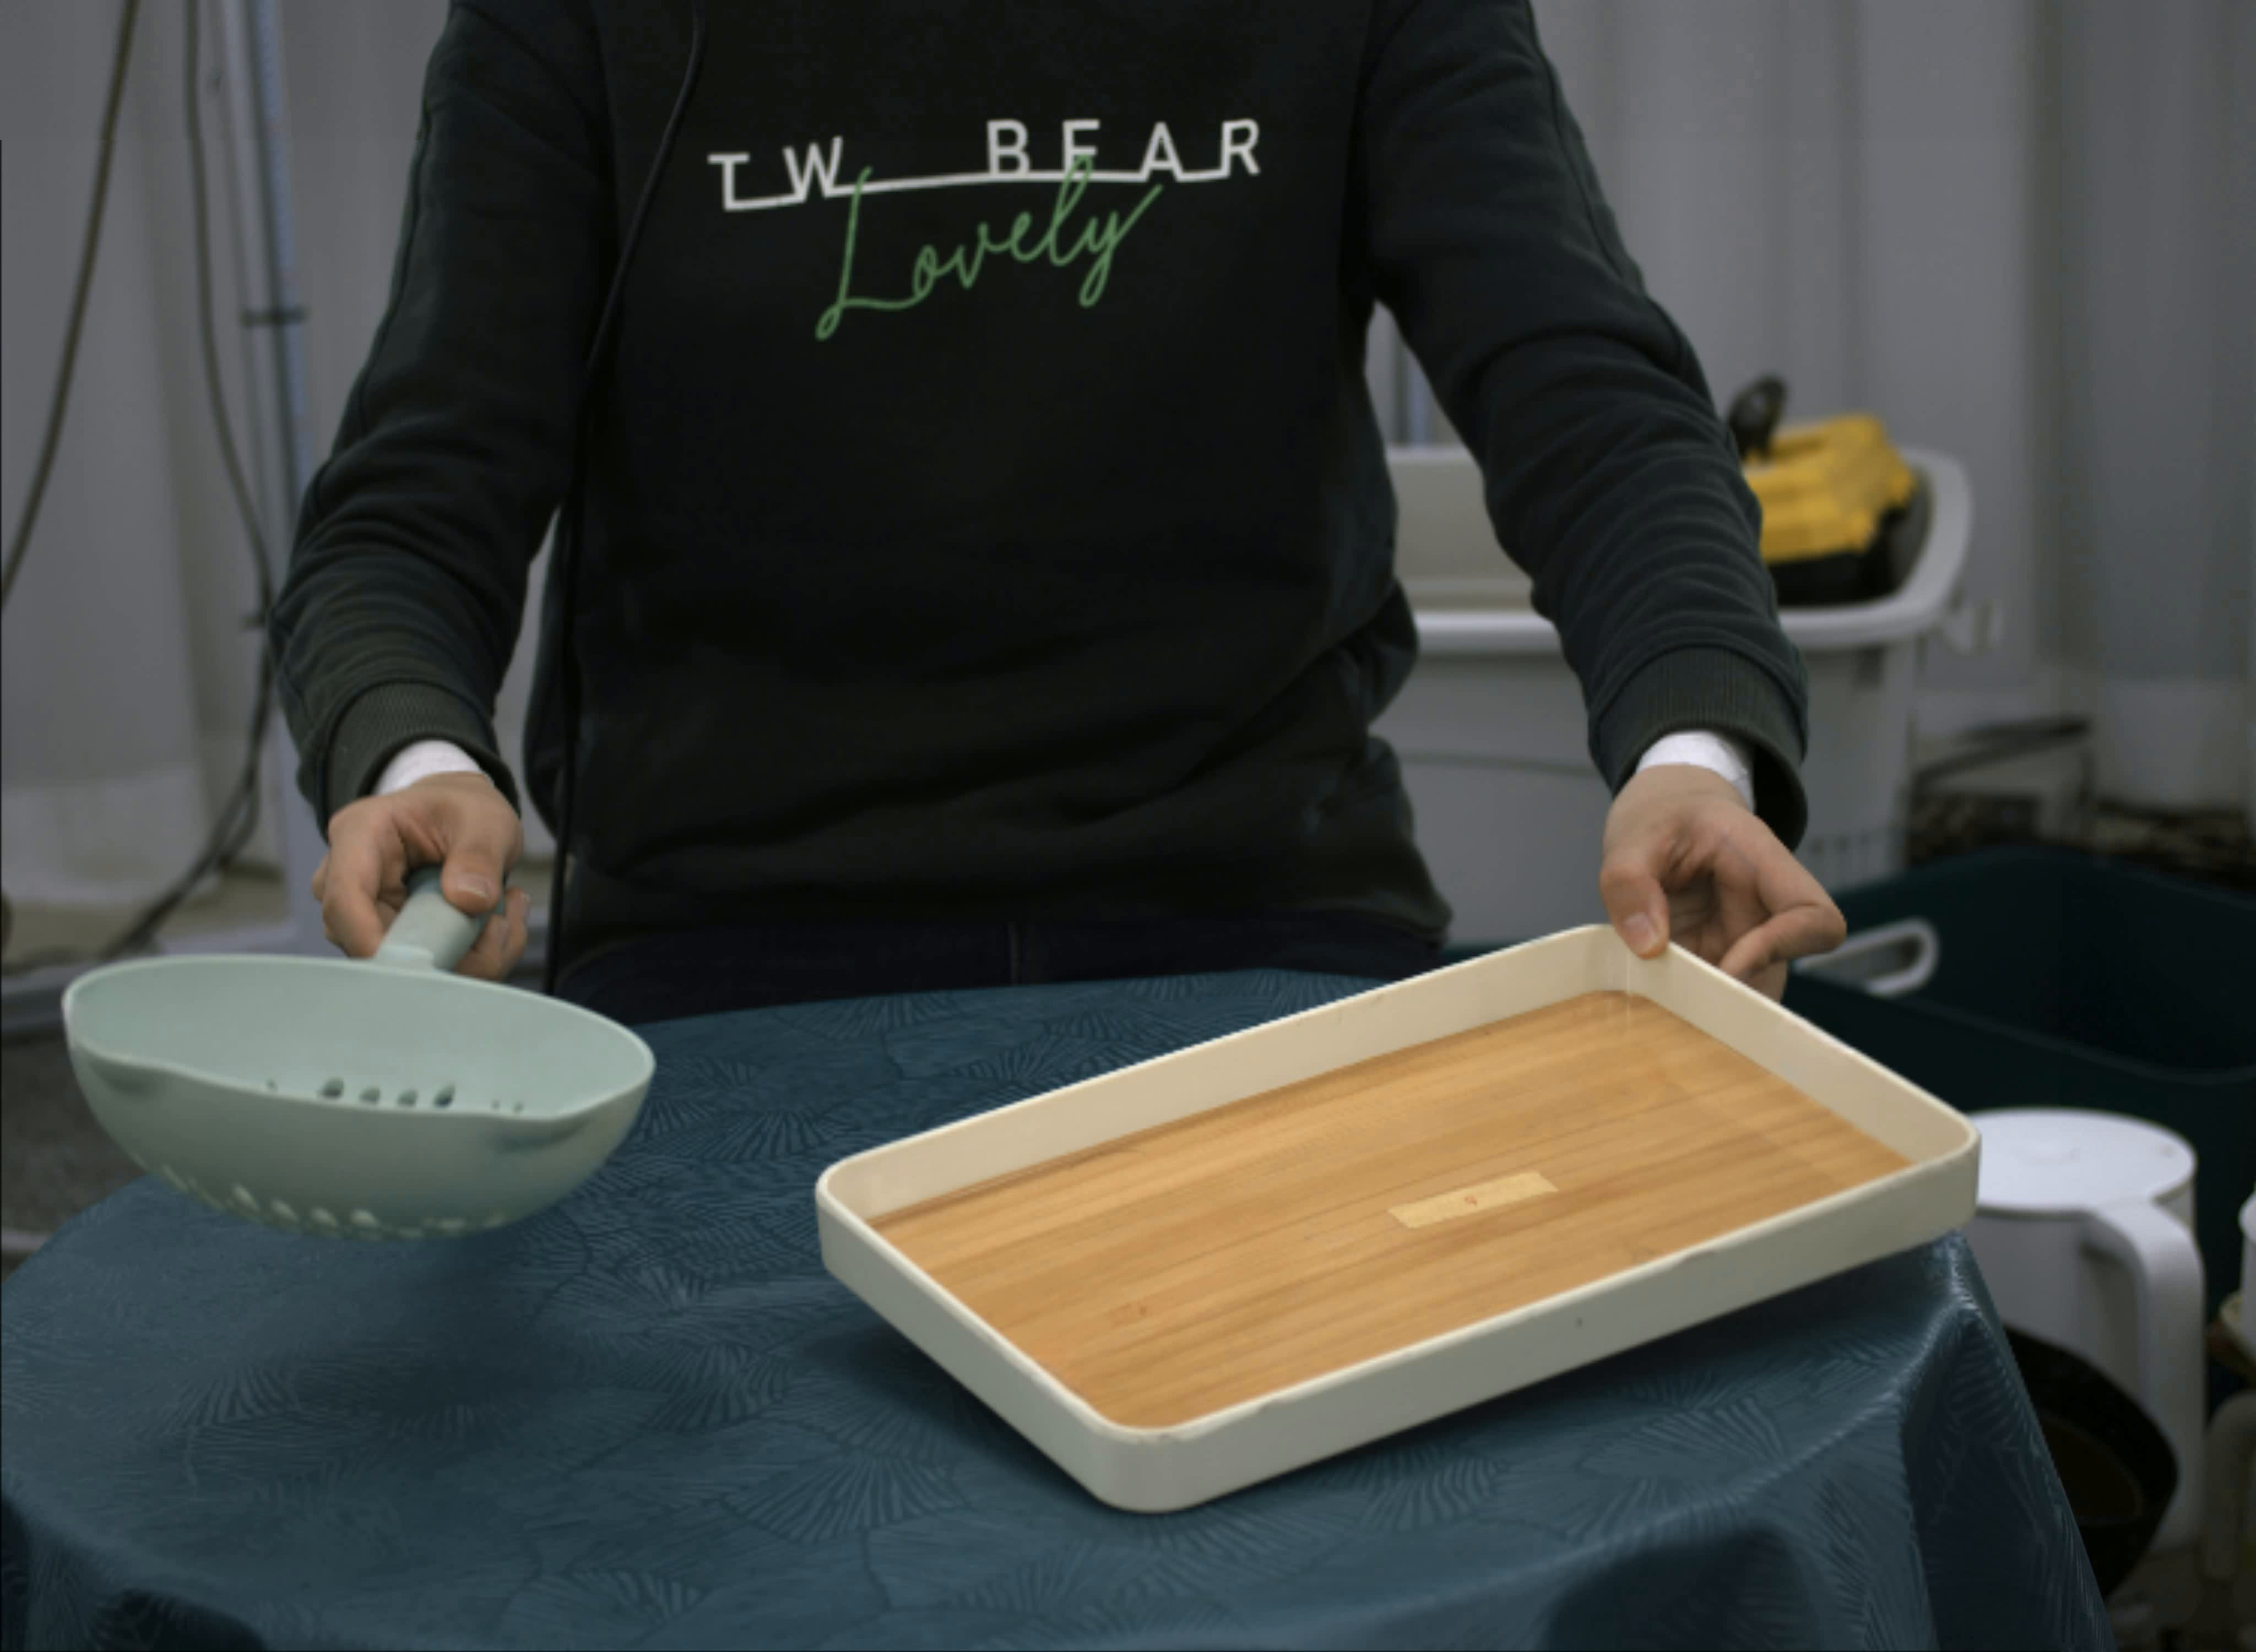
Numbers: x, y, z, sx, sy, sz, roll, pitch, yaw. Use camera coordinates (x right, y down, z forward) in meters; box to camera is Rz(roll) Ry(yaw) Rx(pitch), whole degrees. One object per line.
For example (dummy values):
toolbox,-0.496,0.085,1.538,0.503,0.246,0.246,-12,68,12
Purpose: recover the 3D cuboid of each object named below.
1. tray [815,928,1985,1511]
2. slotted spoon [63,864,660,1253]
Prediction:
tray,0.079,0.108,1.586,0.299,0.027,0.193,-15,28,-27
slotted spoon,-0.218,0.054,1.652,0.169,0.075,0.362,8,18,-1
